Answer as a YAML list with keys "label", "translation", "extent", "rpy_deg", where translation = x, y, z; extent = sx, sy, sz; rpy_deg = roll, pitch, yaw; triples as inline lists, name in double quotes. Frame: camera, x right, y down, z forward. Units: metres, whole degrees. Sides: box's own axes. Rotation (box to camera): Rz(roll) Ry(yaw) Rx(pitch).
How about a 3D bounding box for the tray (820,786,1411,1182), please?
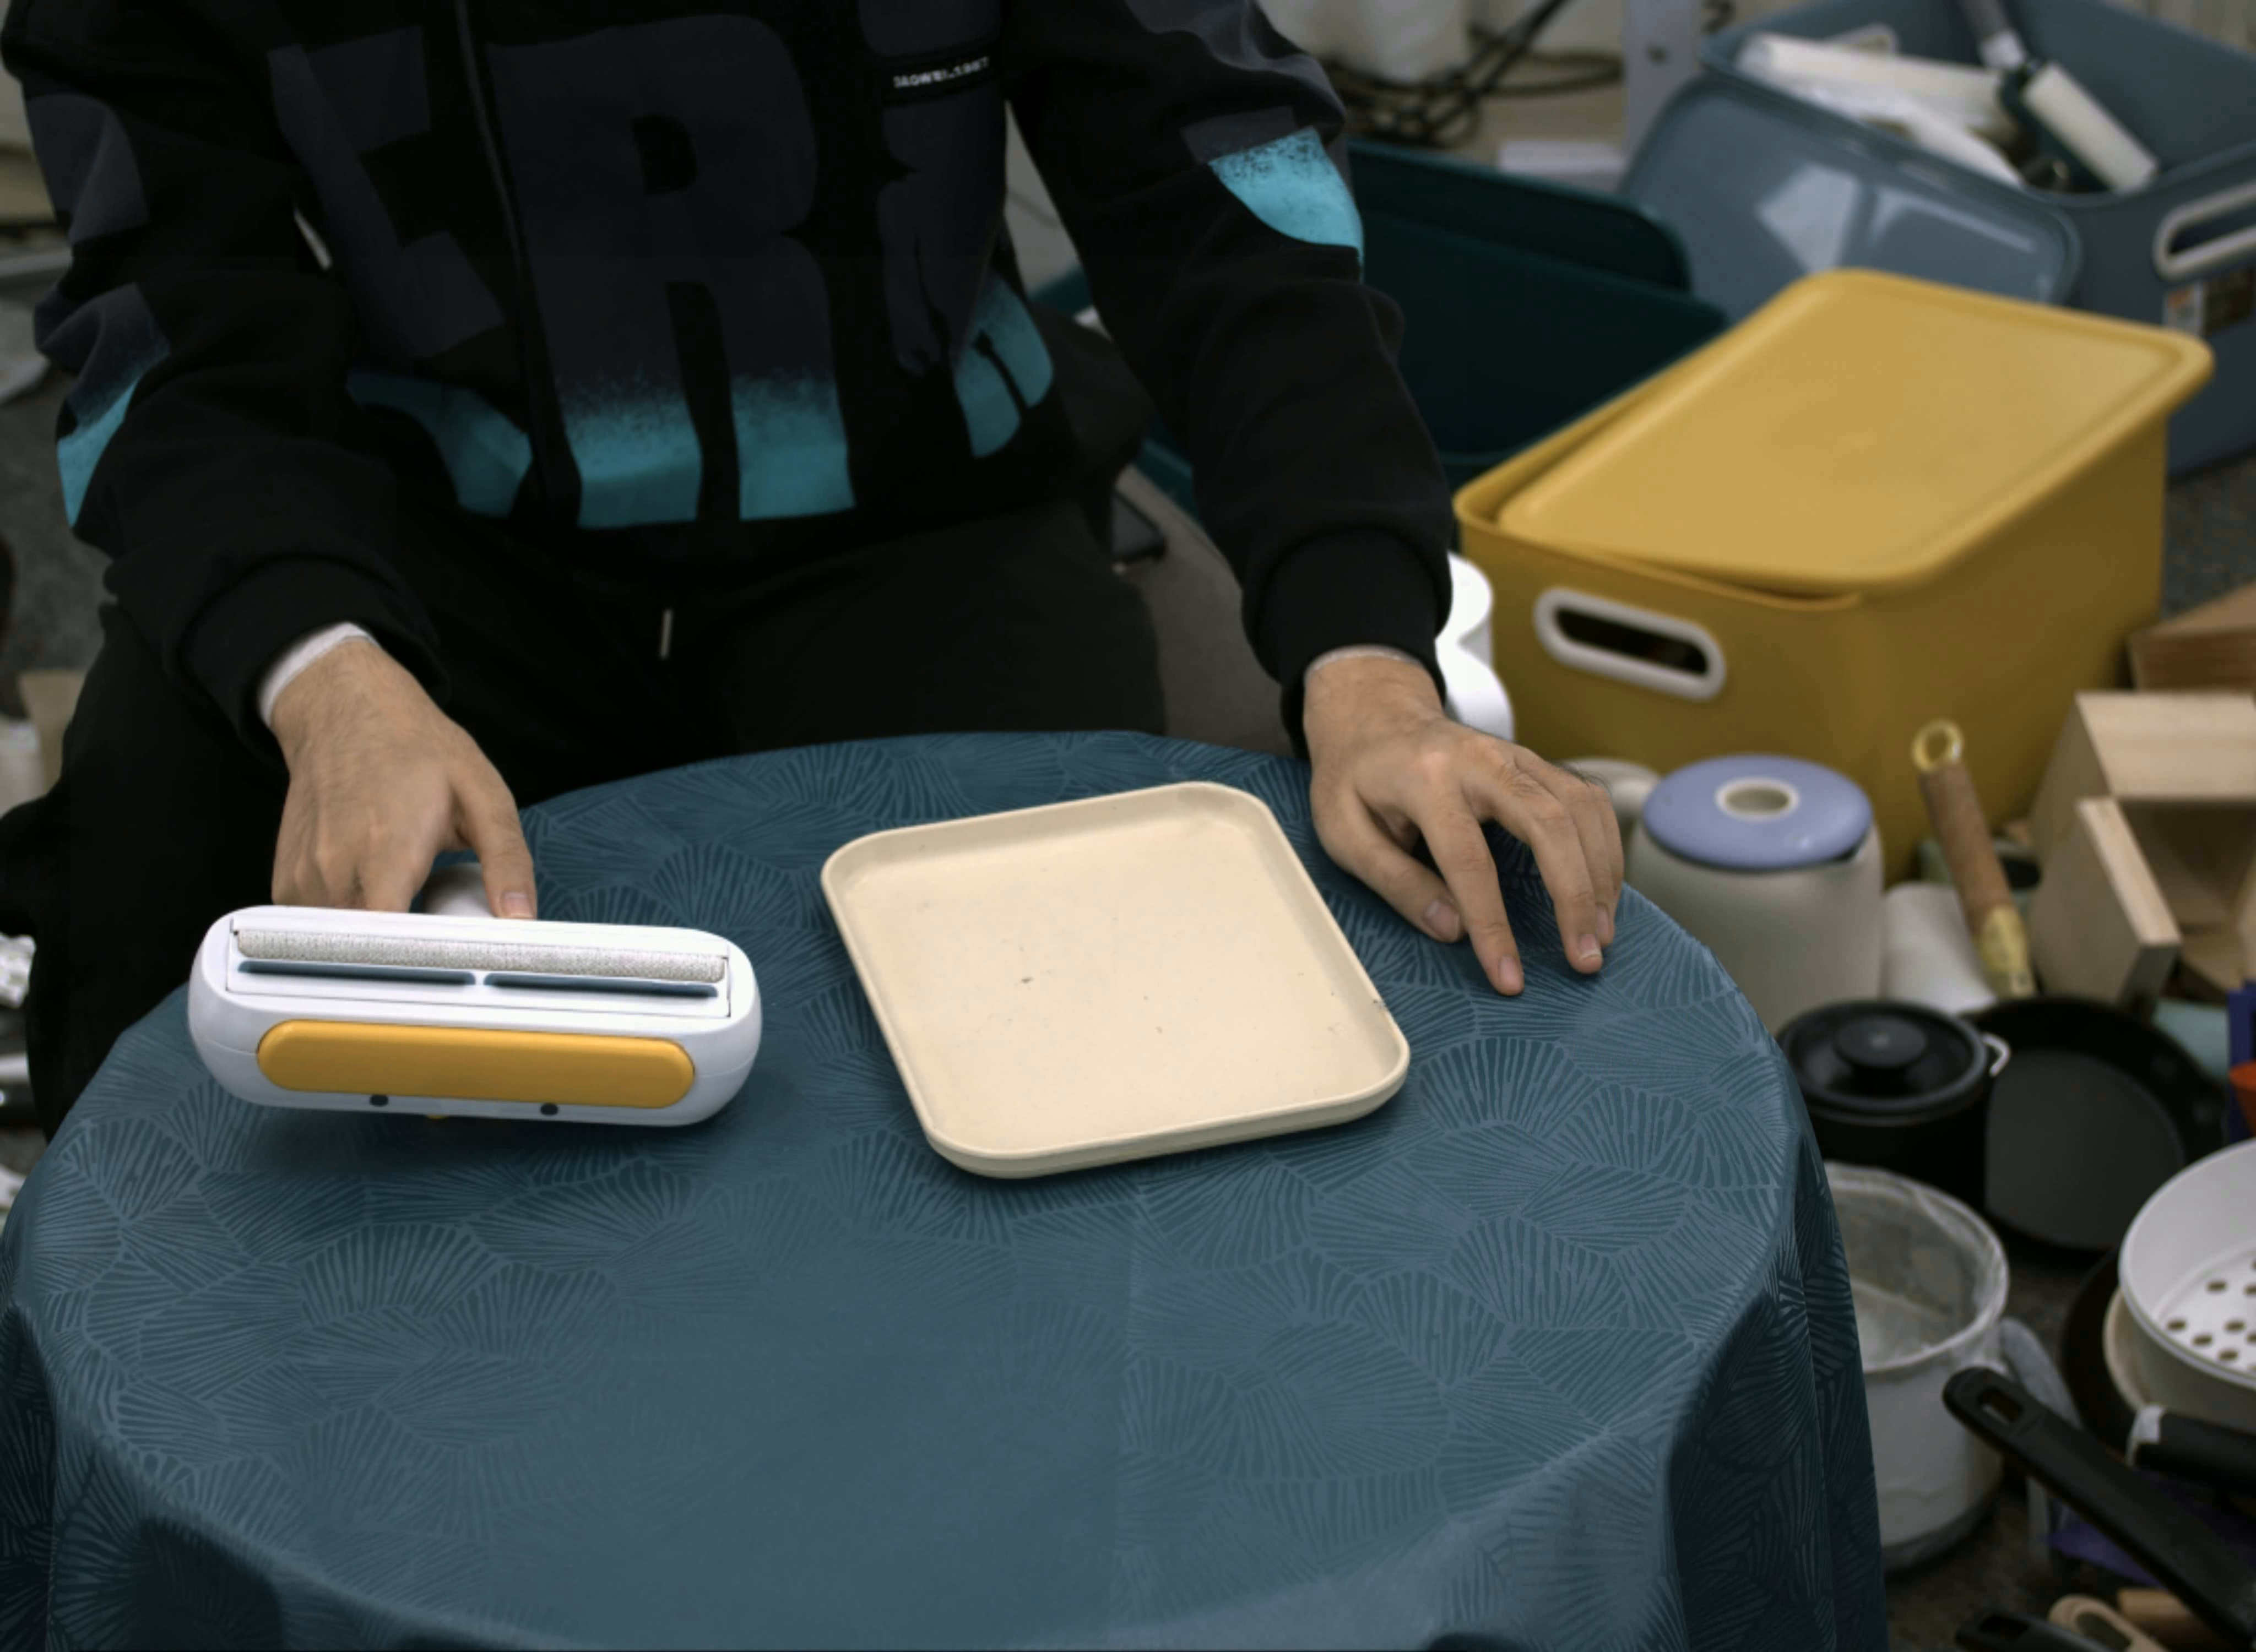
- label: "tray"
  translation: [-0.008, 0.054, 1.972]
  extent: [0.171, 0.017, 0.242]
  rpy_deg: [-9, 28, -11]

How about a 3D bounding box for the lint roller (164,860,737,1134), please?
- label: "lint roller"
  translation: [-0.231, 0.046, 1.956]
  extent: [0.192, 0.073, 0.195]
  rpy_deg: [1, 26, -3]
